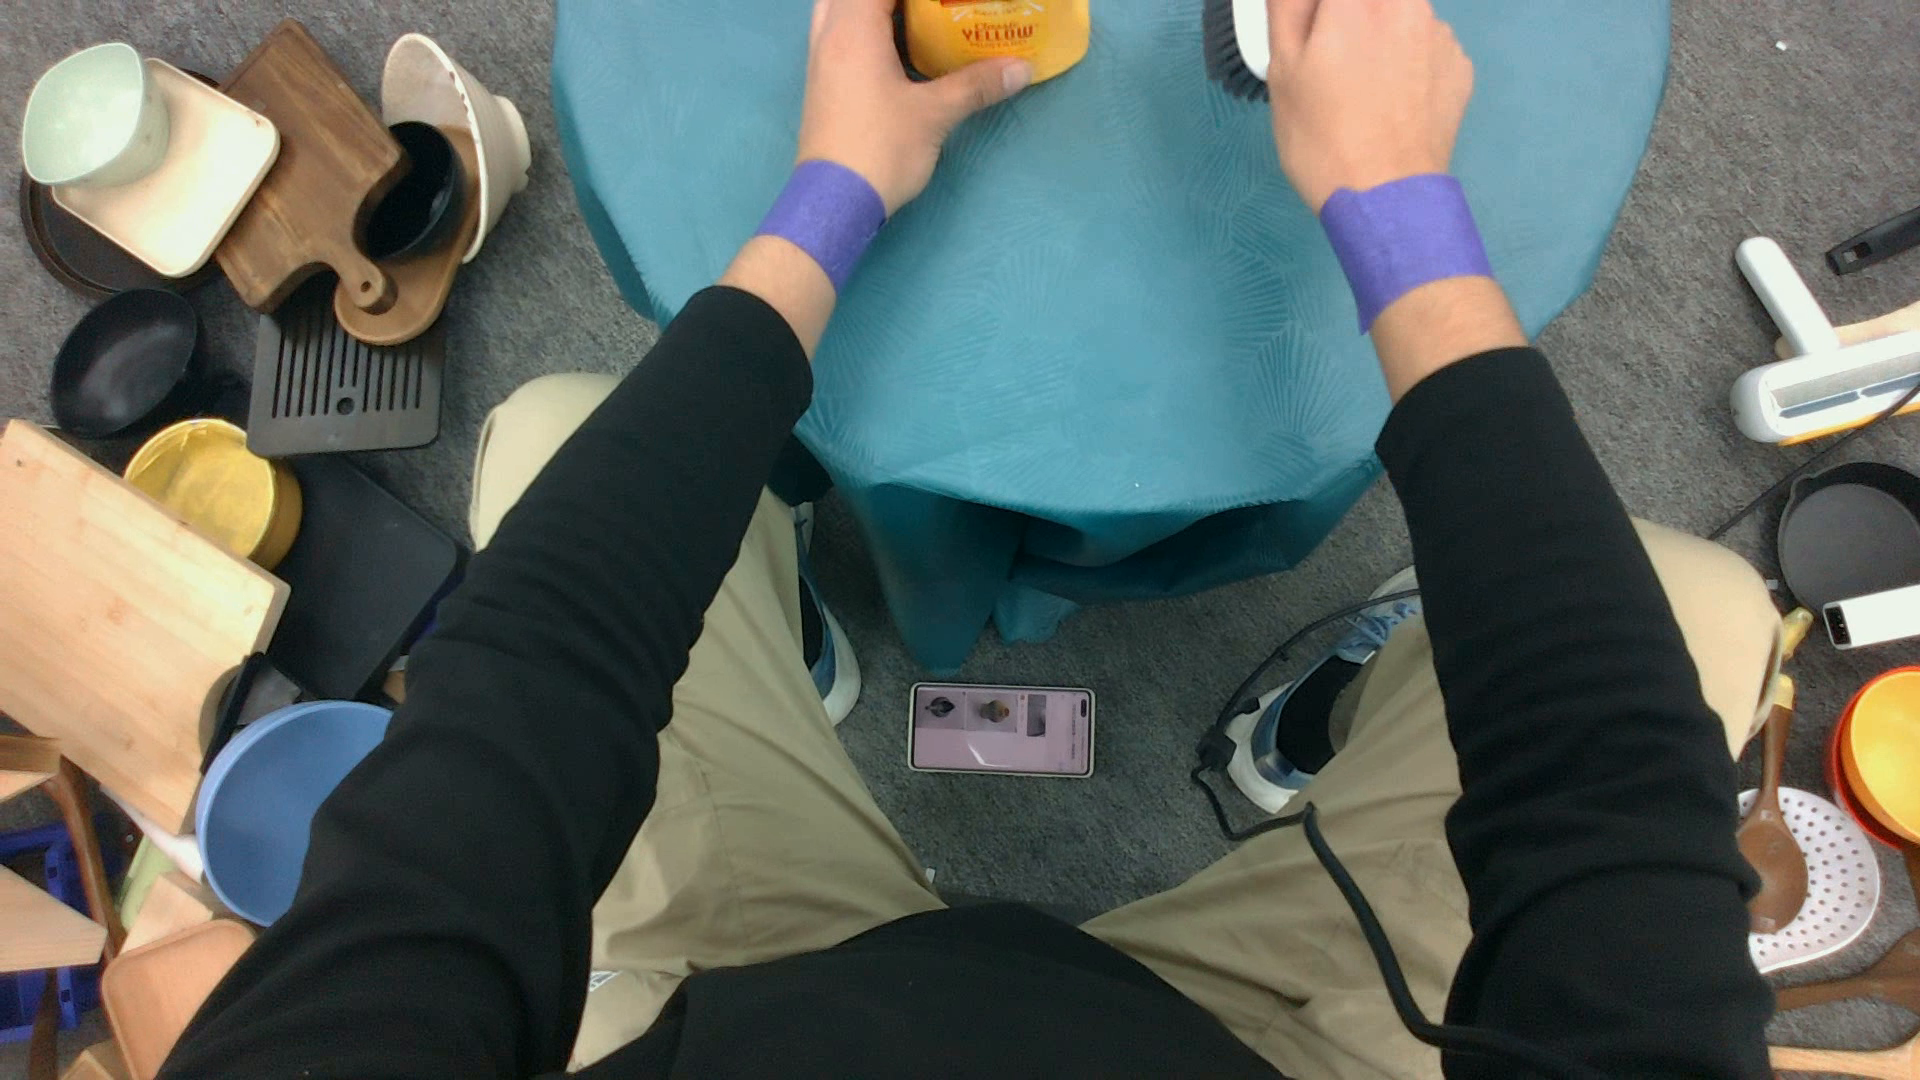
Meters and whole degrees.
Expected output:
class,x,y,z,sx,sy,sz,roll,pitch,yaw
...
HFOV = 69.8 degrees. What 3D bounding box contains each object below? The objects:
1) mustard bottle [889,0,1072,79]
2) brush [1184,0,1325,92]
class,x,y,z,sx,sy,sz,roll,pitch,yaw
mustard bottle,0.009,-0.282,0.658,0.098,0.172,0.059,-5,85,0
brush,0.144,-0.268,0.636,0.050,0.072,0.099,5,84,-23
